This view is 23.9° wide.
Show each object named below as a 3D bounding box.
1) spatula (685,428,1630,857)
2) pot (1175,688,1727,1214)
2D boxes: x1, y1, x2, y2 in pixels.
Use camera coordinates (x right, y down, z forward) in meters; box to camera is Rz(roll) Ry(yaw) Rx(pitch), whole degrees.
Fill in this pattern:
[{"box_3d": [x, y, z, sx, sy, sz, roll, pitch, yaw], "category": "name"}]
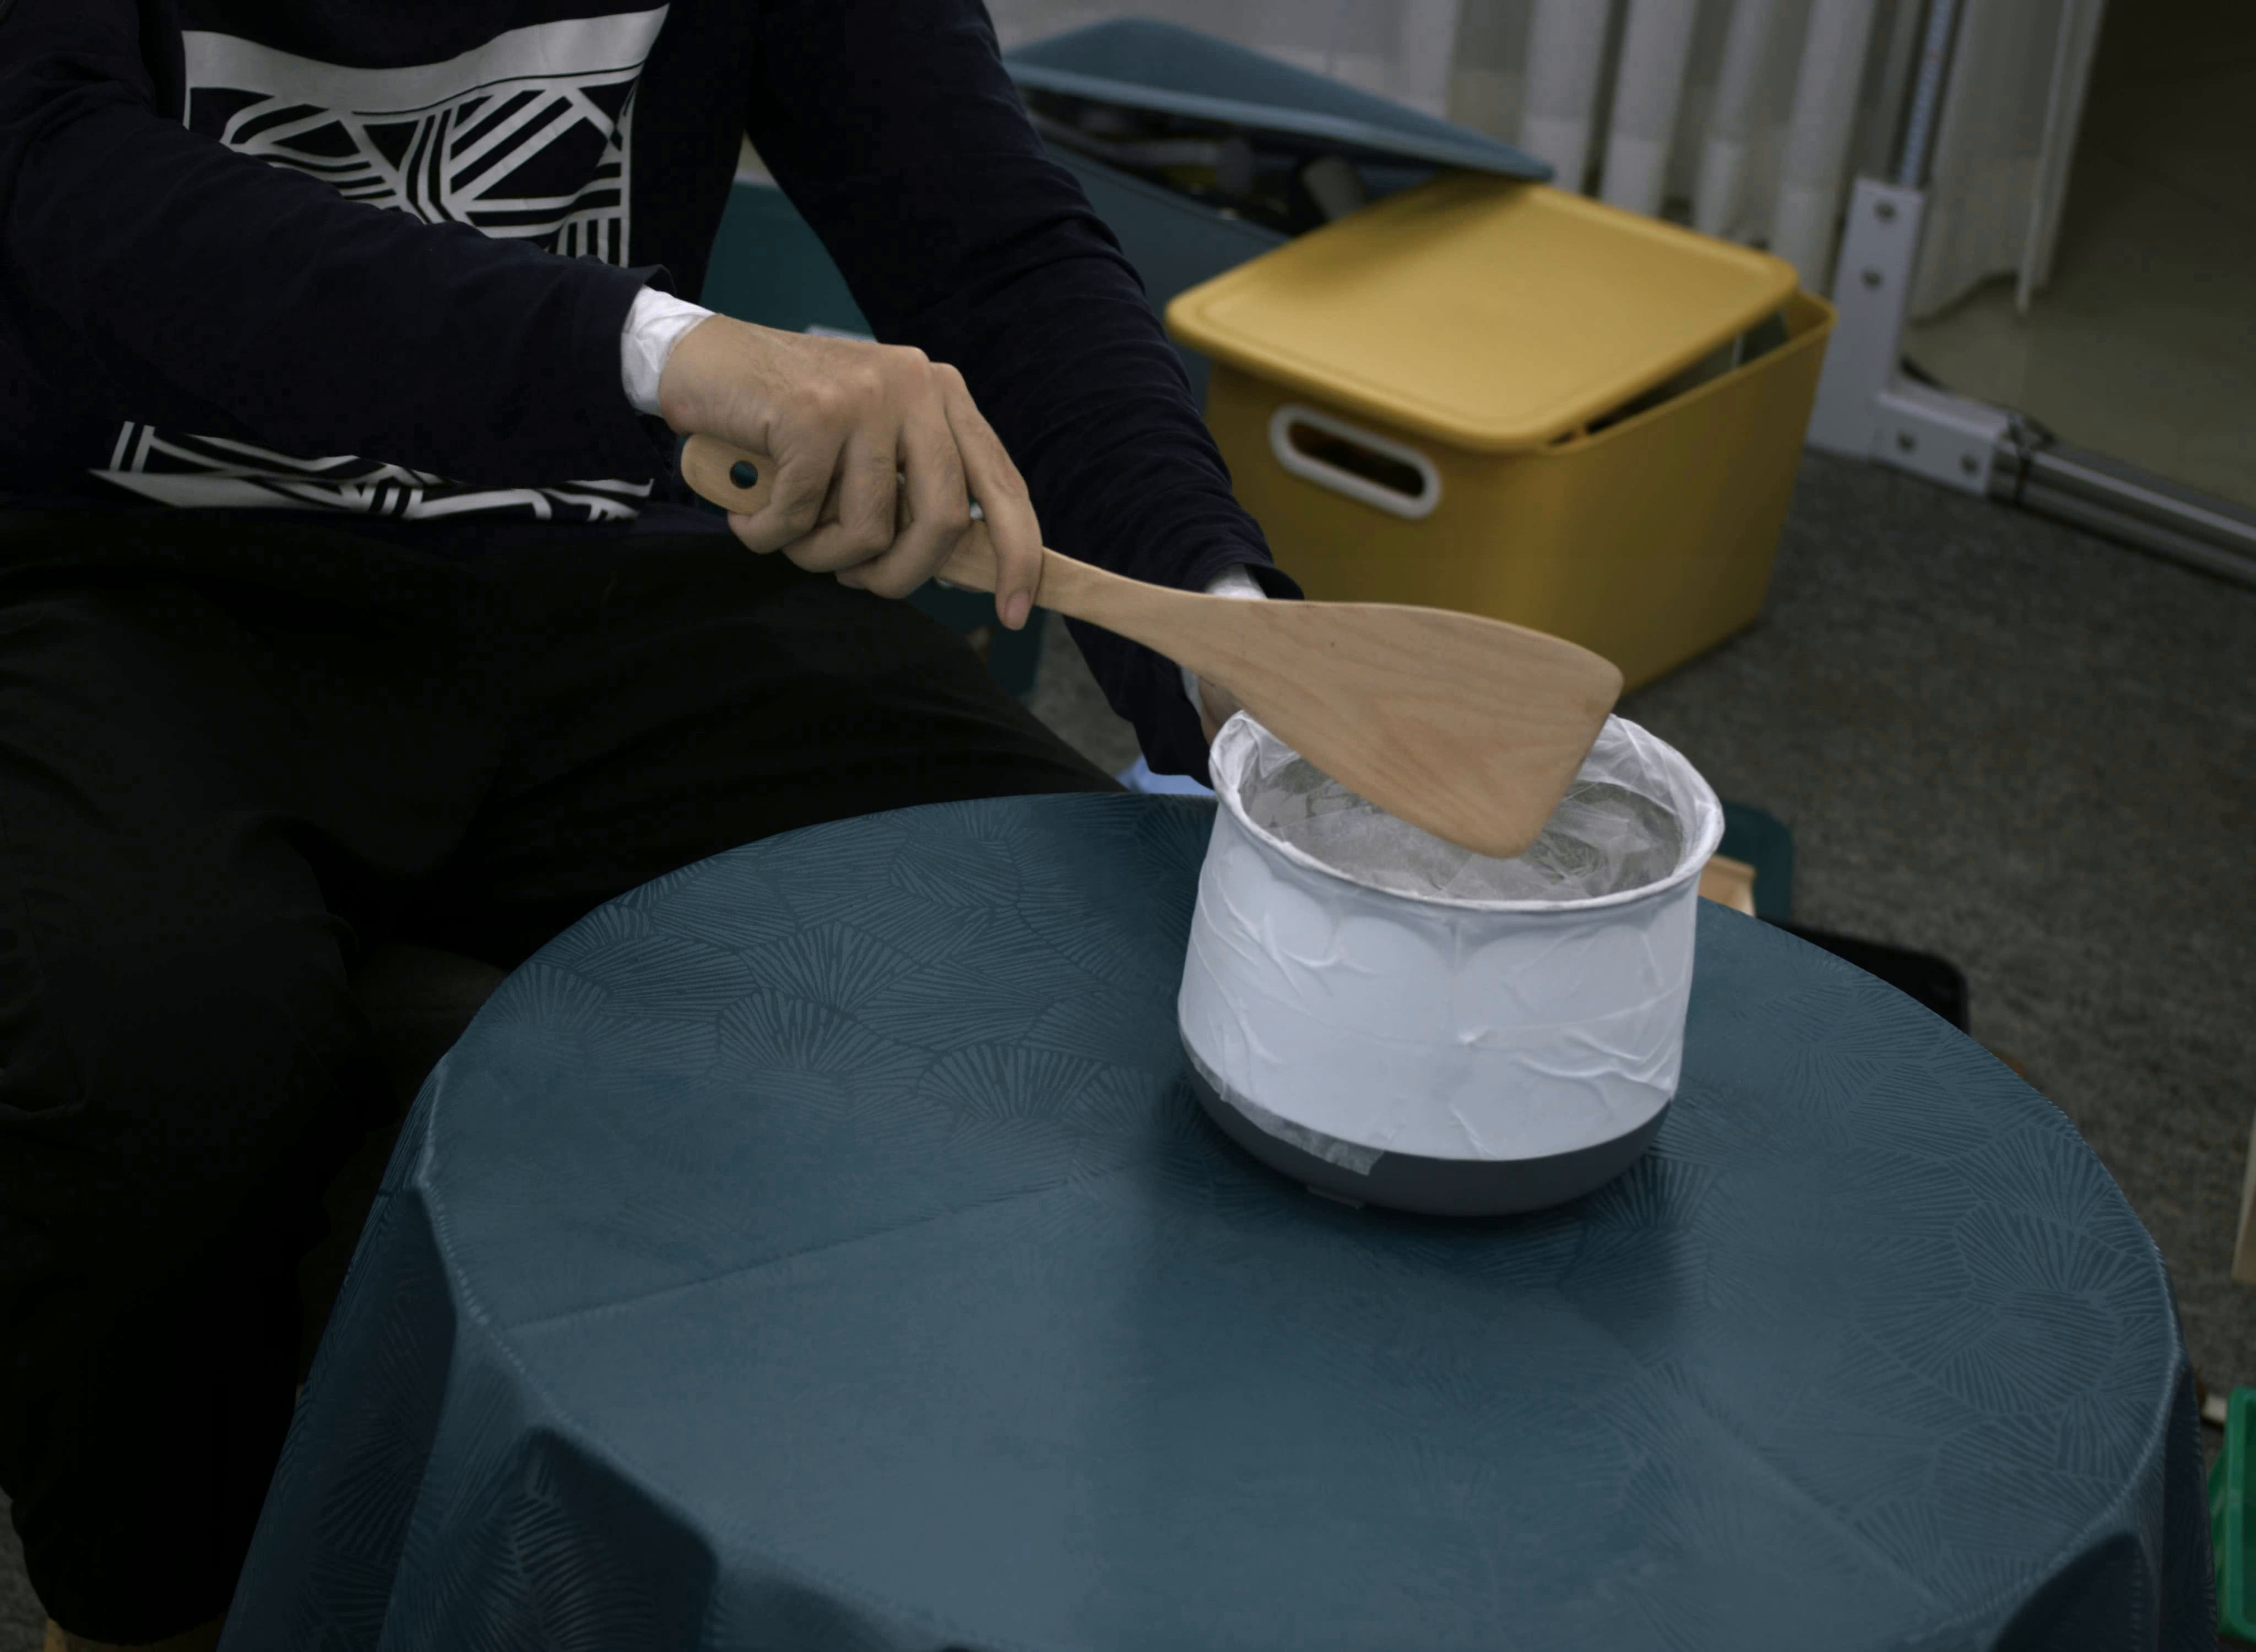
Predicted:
[{"box_3d": [0.003, -0.073, 1.791, 0.328, 0.080, 0.016, 19, 10, 9], "category": "spatula"}, {"box_3d": [0.099, 0.027, 1.860, 0.177, 0.136, 0.236, -3, 29, -21], "category": "pot"}]
